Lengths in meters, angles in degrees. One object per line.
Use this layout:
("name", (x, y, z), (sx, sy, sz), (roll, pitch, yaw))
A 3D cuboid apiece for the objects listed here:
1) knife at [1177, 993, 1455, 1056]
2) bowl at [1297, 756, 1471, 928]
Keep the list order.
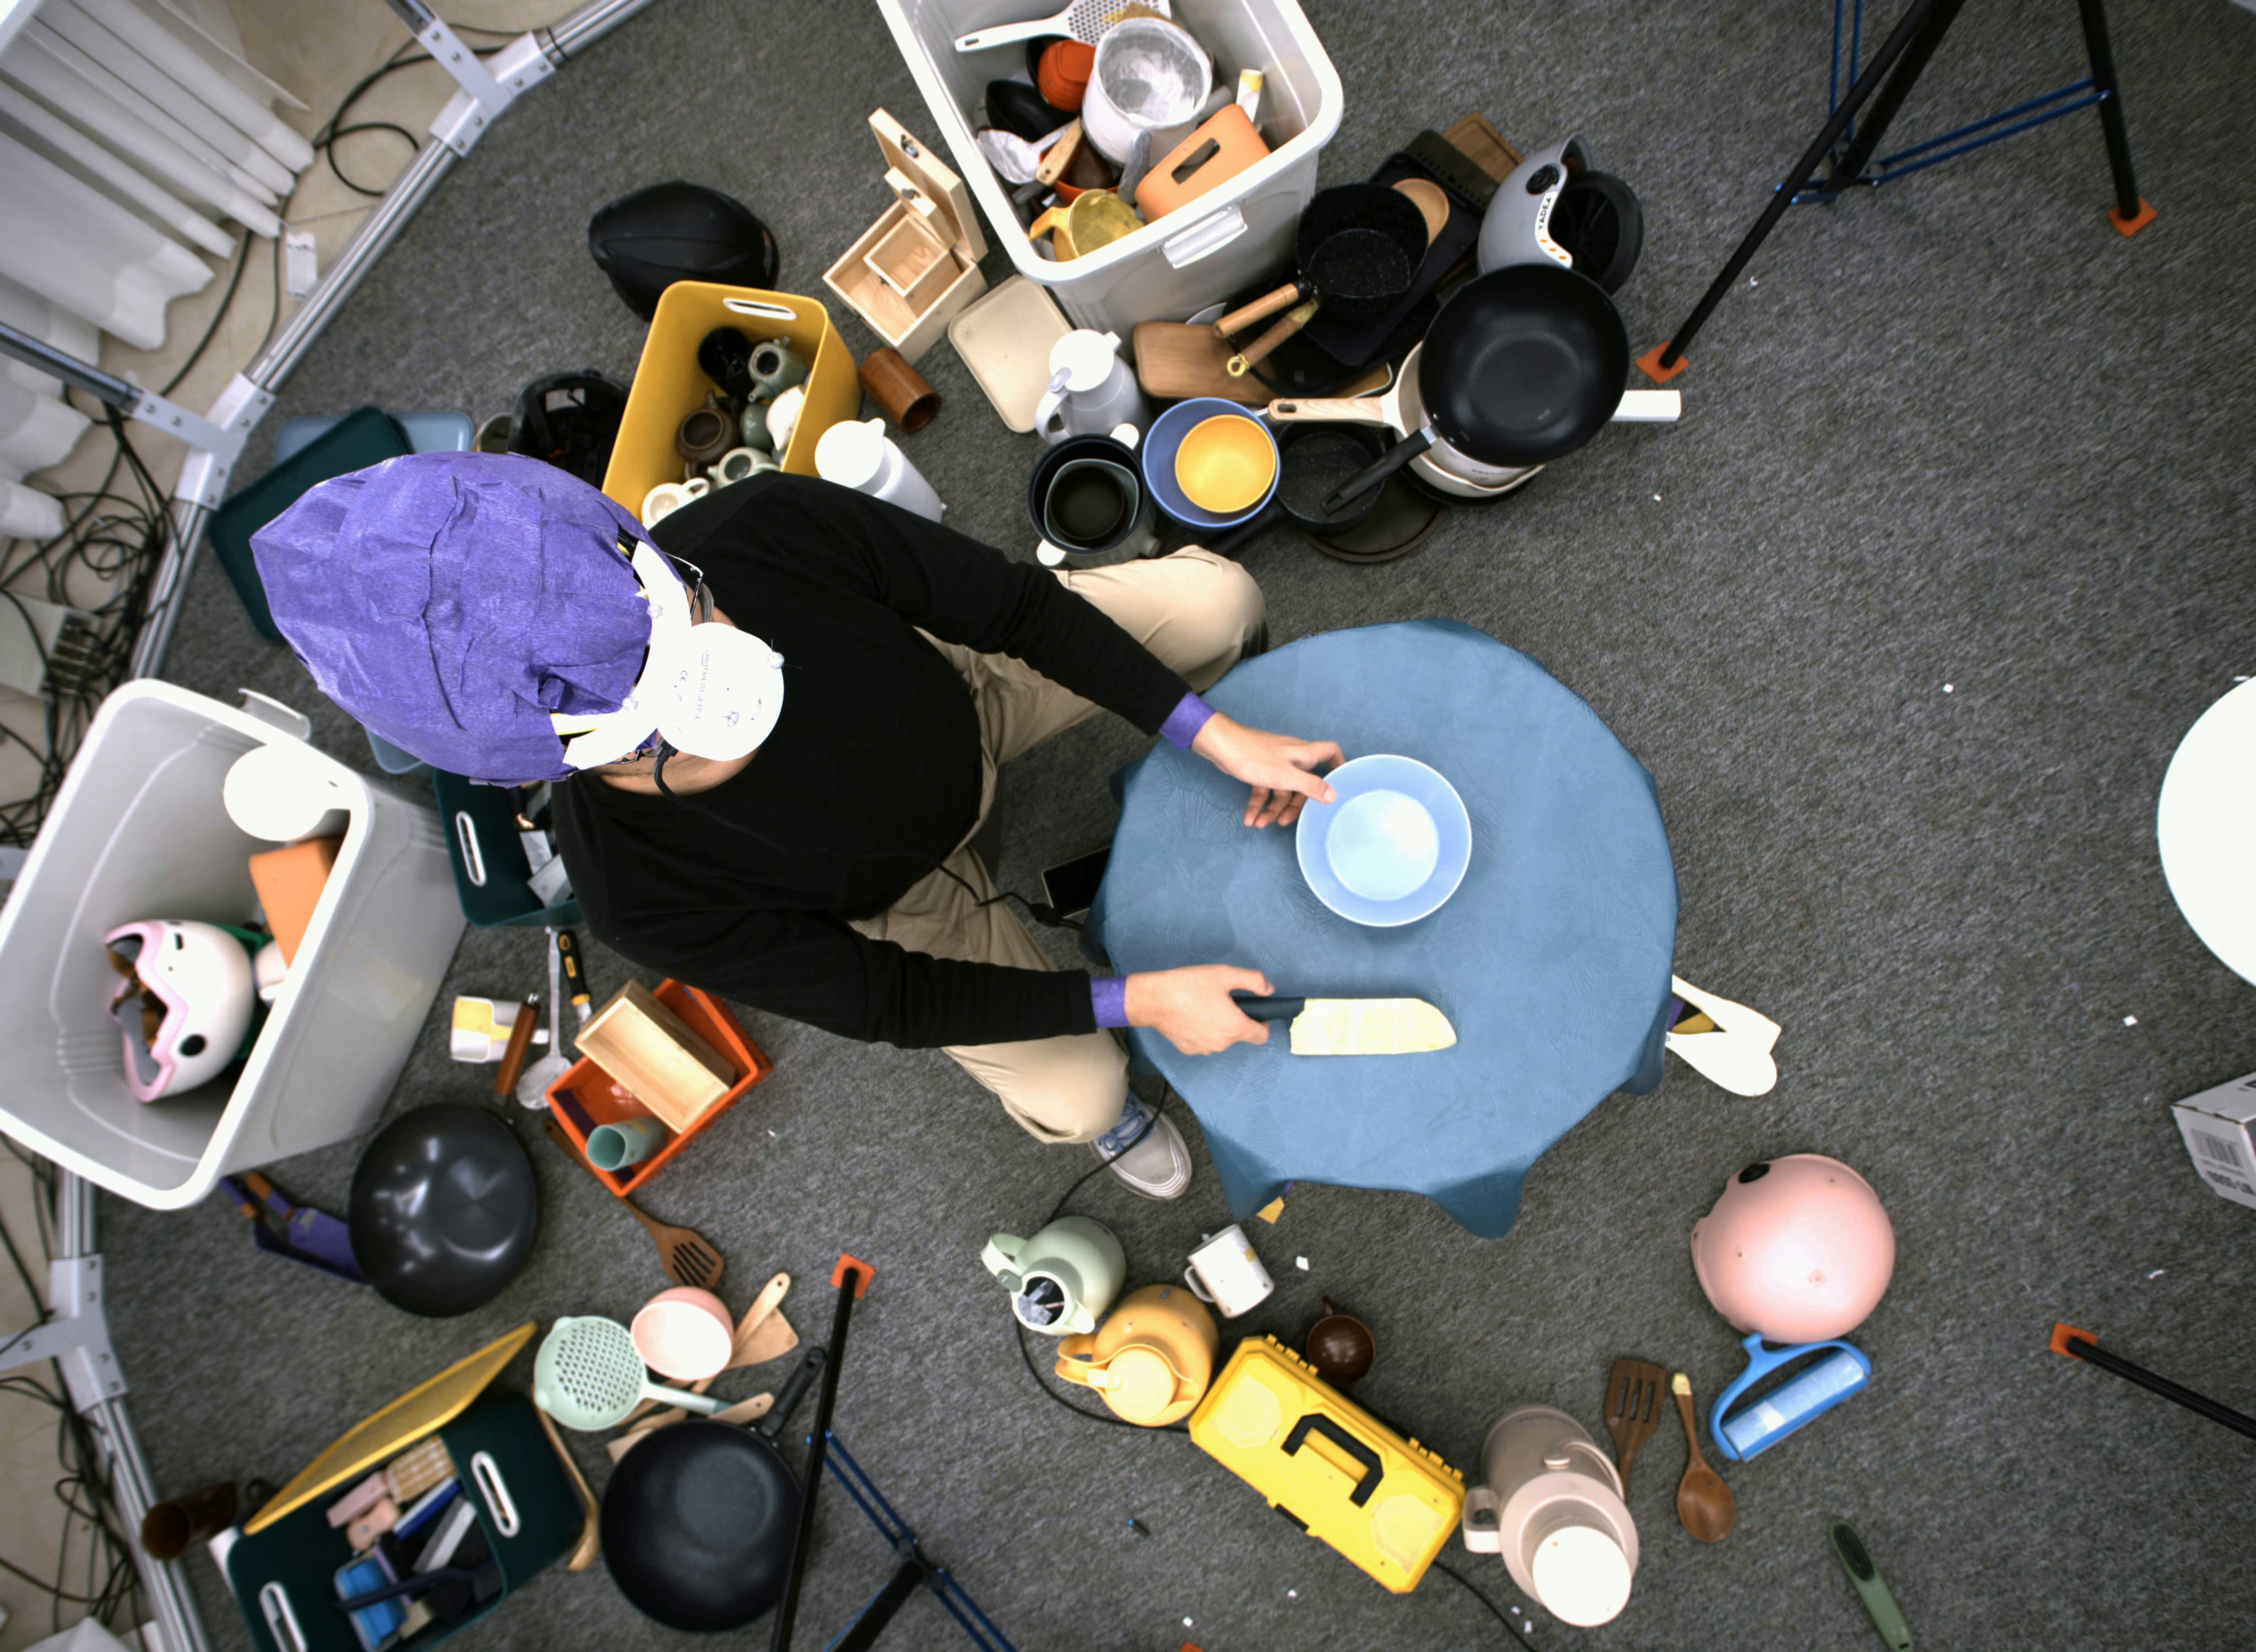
("knife", (0.195, 0.204, 1.440), (0.290, 0.026, 0.083), (3, 119, 6))
("bowl", (0.264, 0.017, 1.430), (0.177, 0.070, 0.175), (-1, 87, 11))
